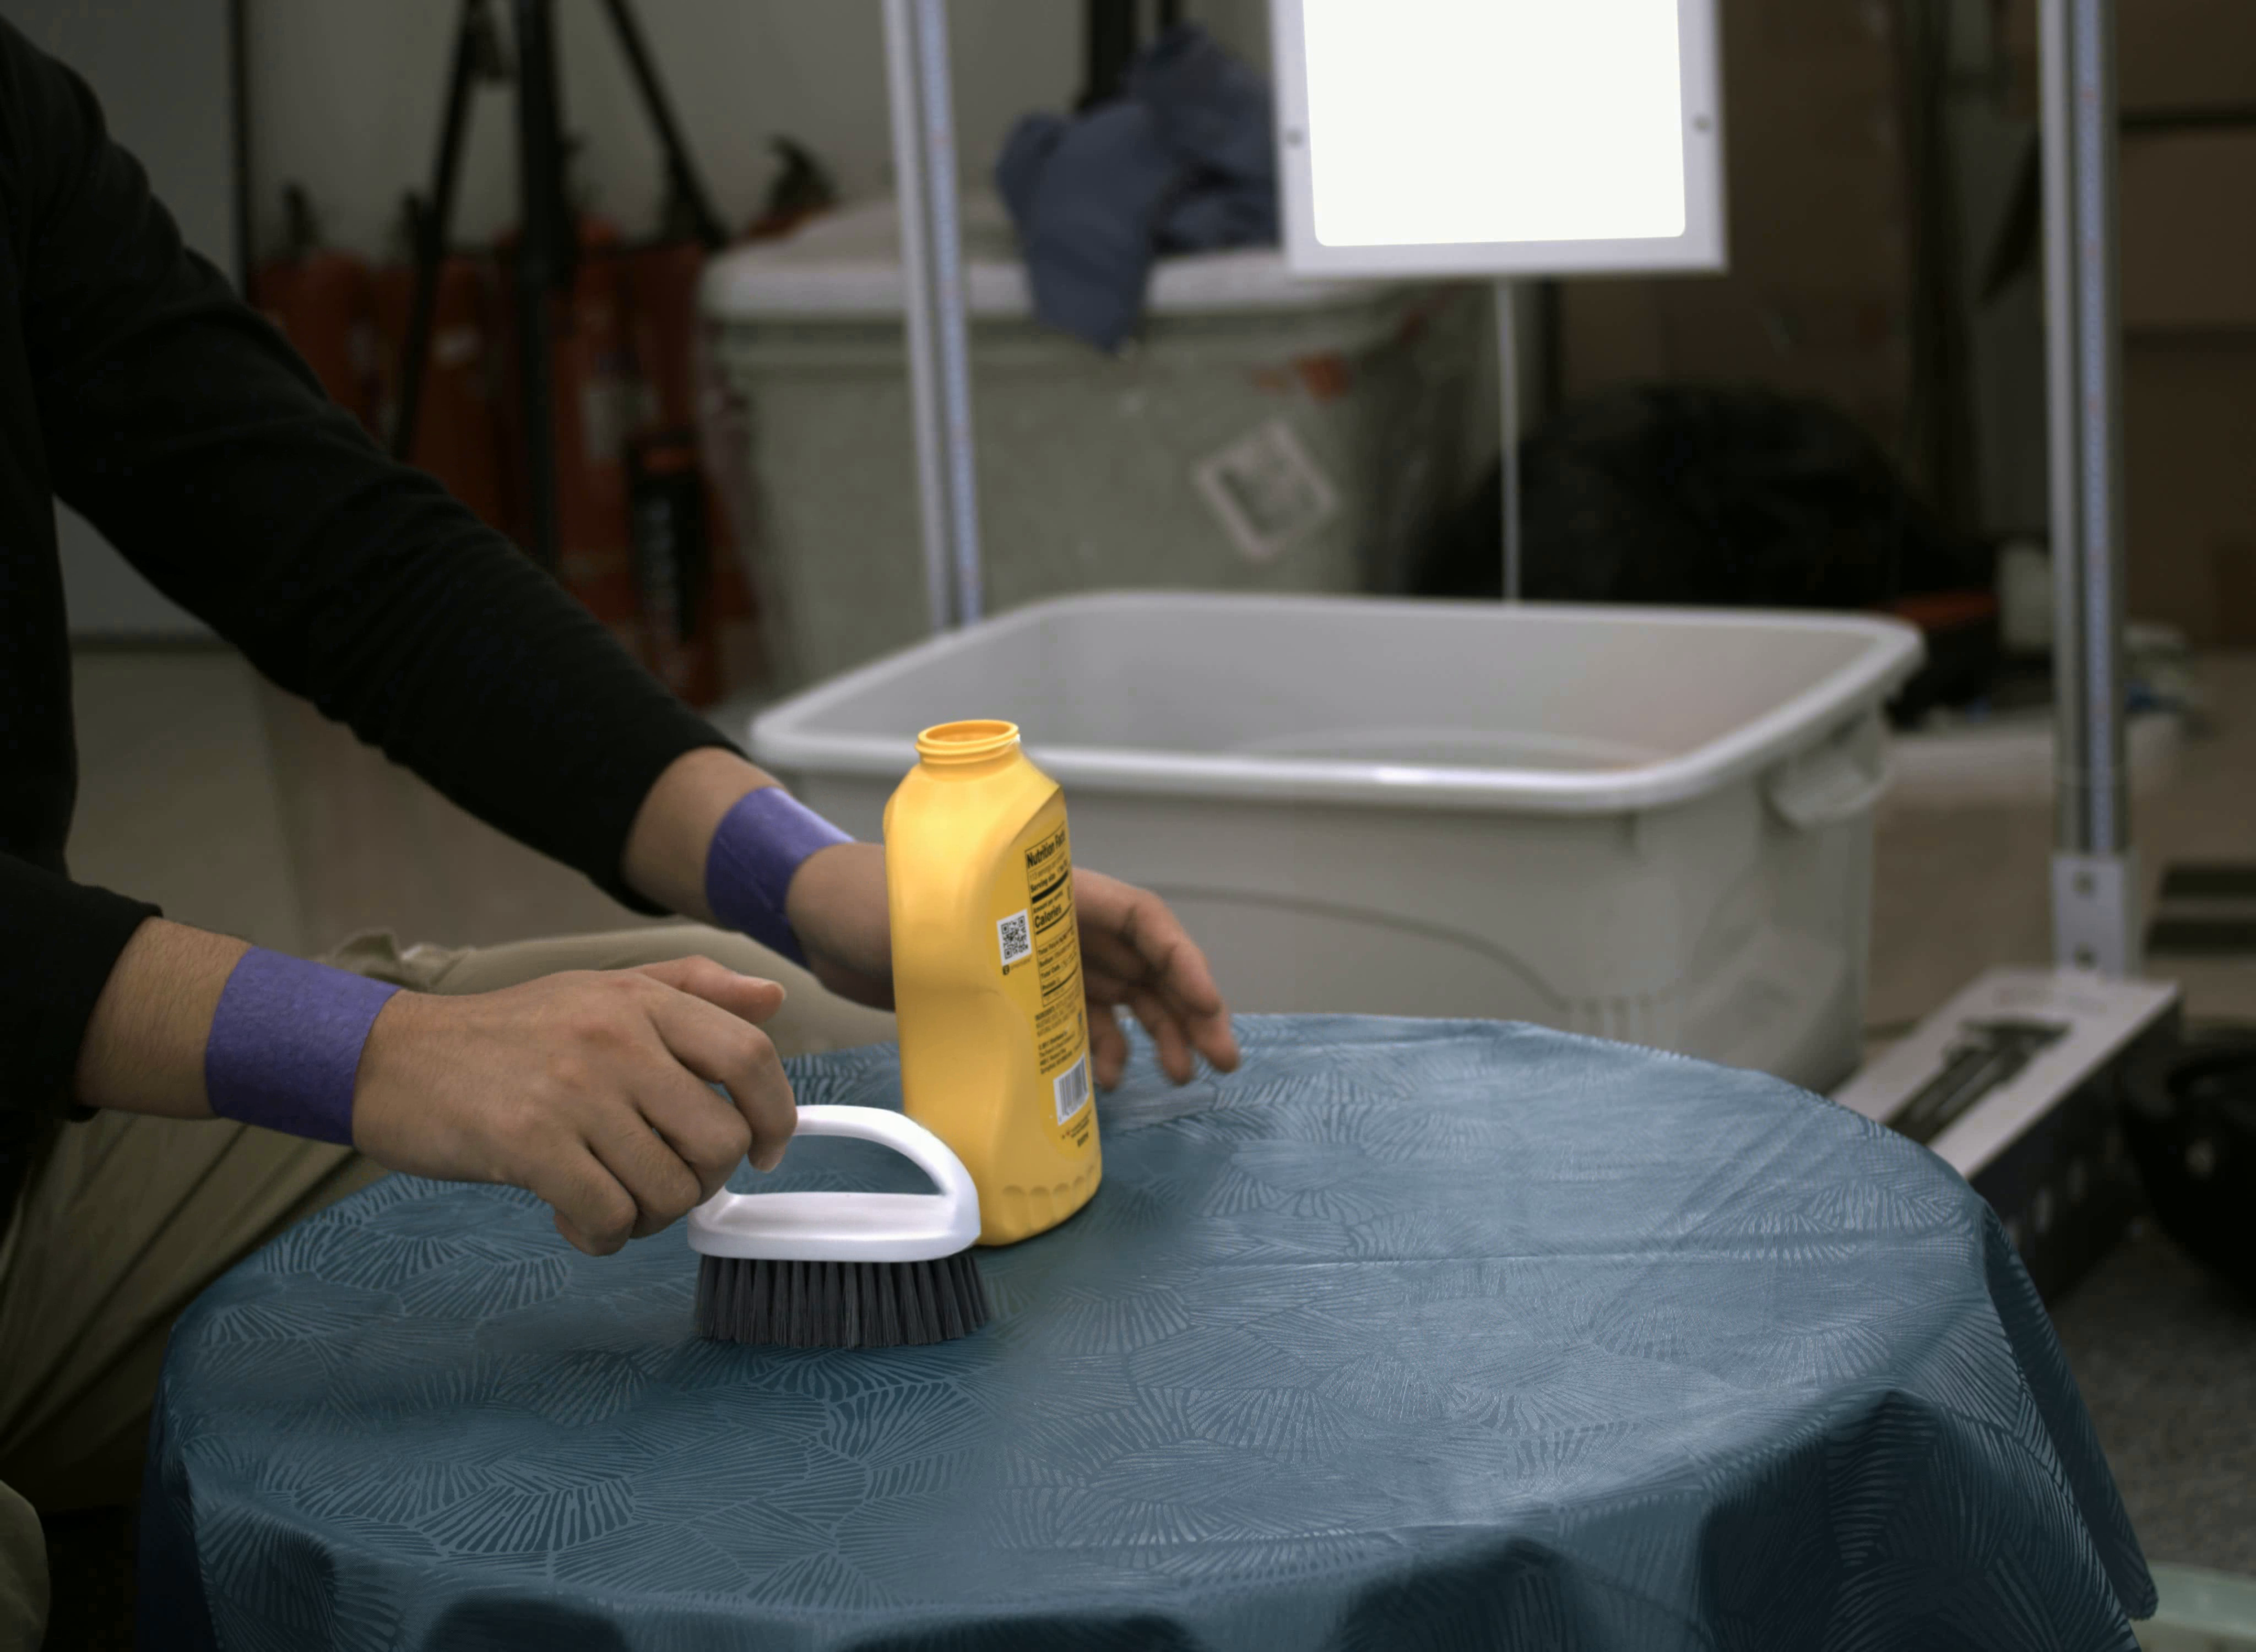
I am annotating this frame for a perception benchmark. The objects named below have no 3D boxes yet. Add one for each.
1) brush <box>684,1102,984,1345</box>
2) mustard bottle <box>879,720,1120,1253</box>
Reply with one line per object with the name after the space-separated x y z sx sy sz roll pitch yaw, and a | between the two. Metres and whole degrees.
-0.096 0.125 1.781 0.100 0.073 0.049 2 14 20 | brush
-0.045 0.052 1.865 0.060 0.172 0.097 -5 14 19 | mustard bottle
